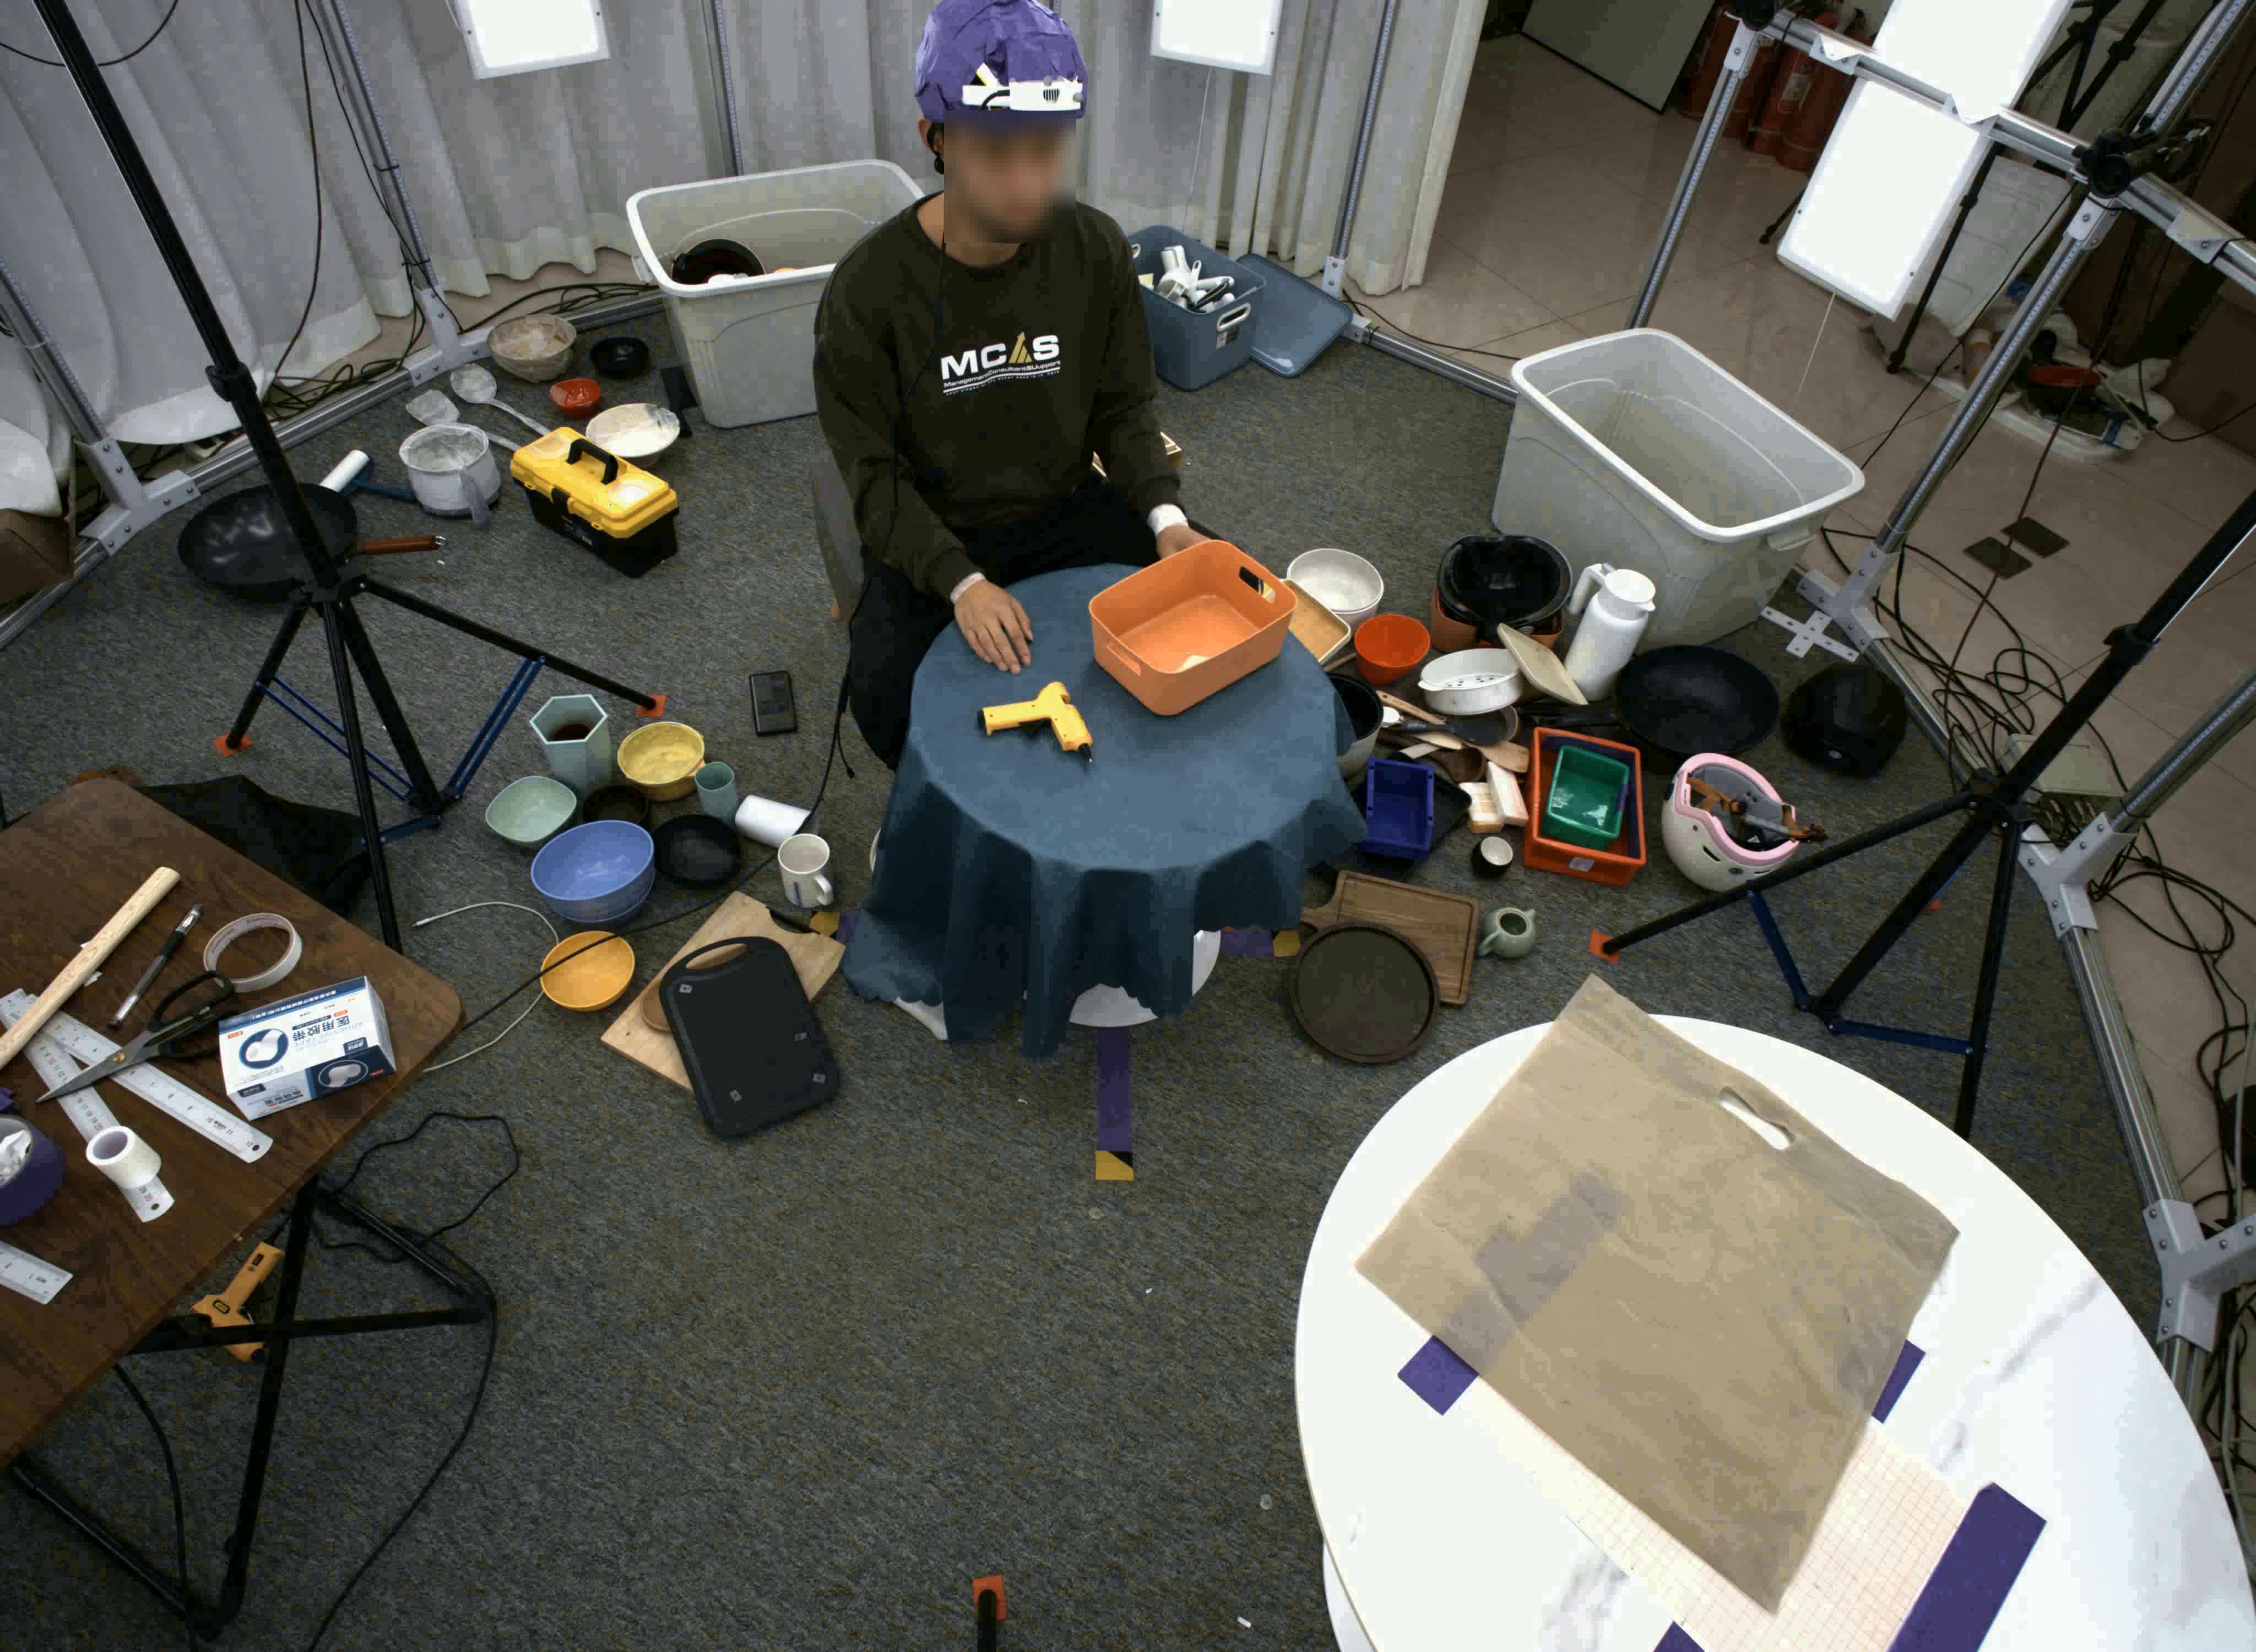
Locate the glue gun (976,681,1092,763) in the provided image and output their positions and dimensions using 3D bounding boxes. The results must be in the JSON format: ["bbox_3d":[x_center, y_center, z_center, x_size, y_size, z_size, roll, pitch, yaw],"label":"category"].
[{"bbox_3d":[-0.118,-0.125,1.744,0.133,0.030,0.154,-20,54,-18],"label":"glue gun"}]

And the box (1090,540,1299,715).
[{"bbox_3d":[0.092,-0.284,1.848,0.275,0.100,0.203,-32,58,-27],"label":"box"}]
